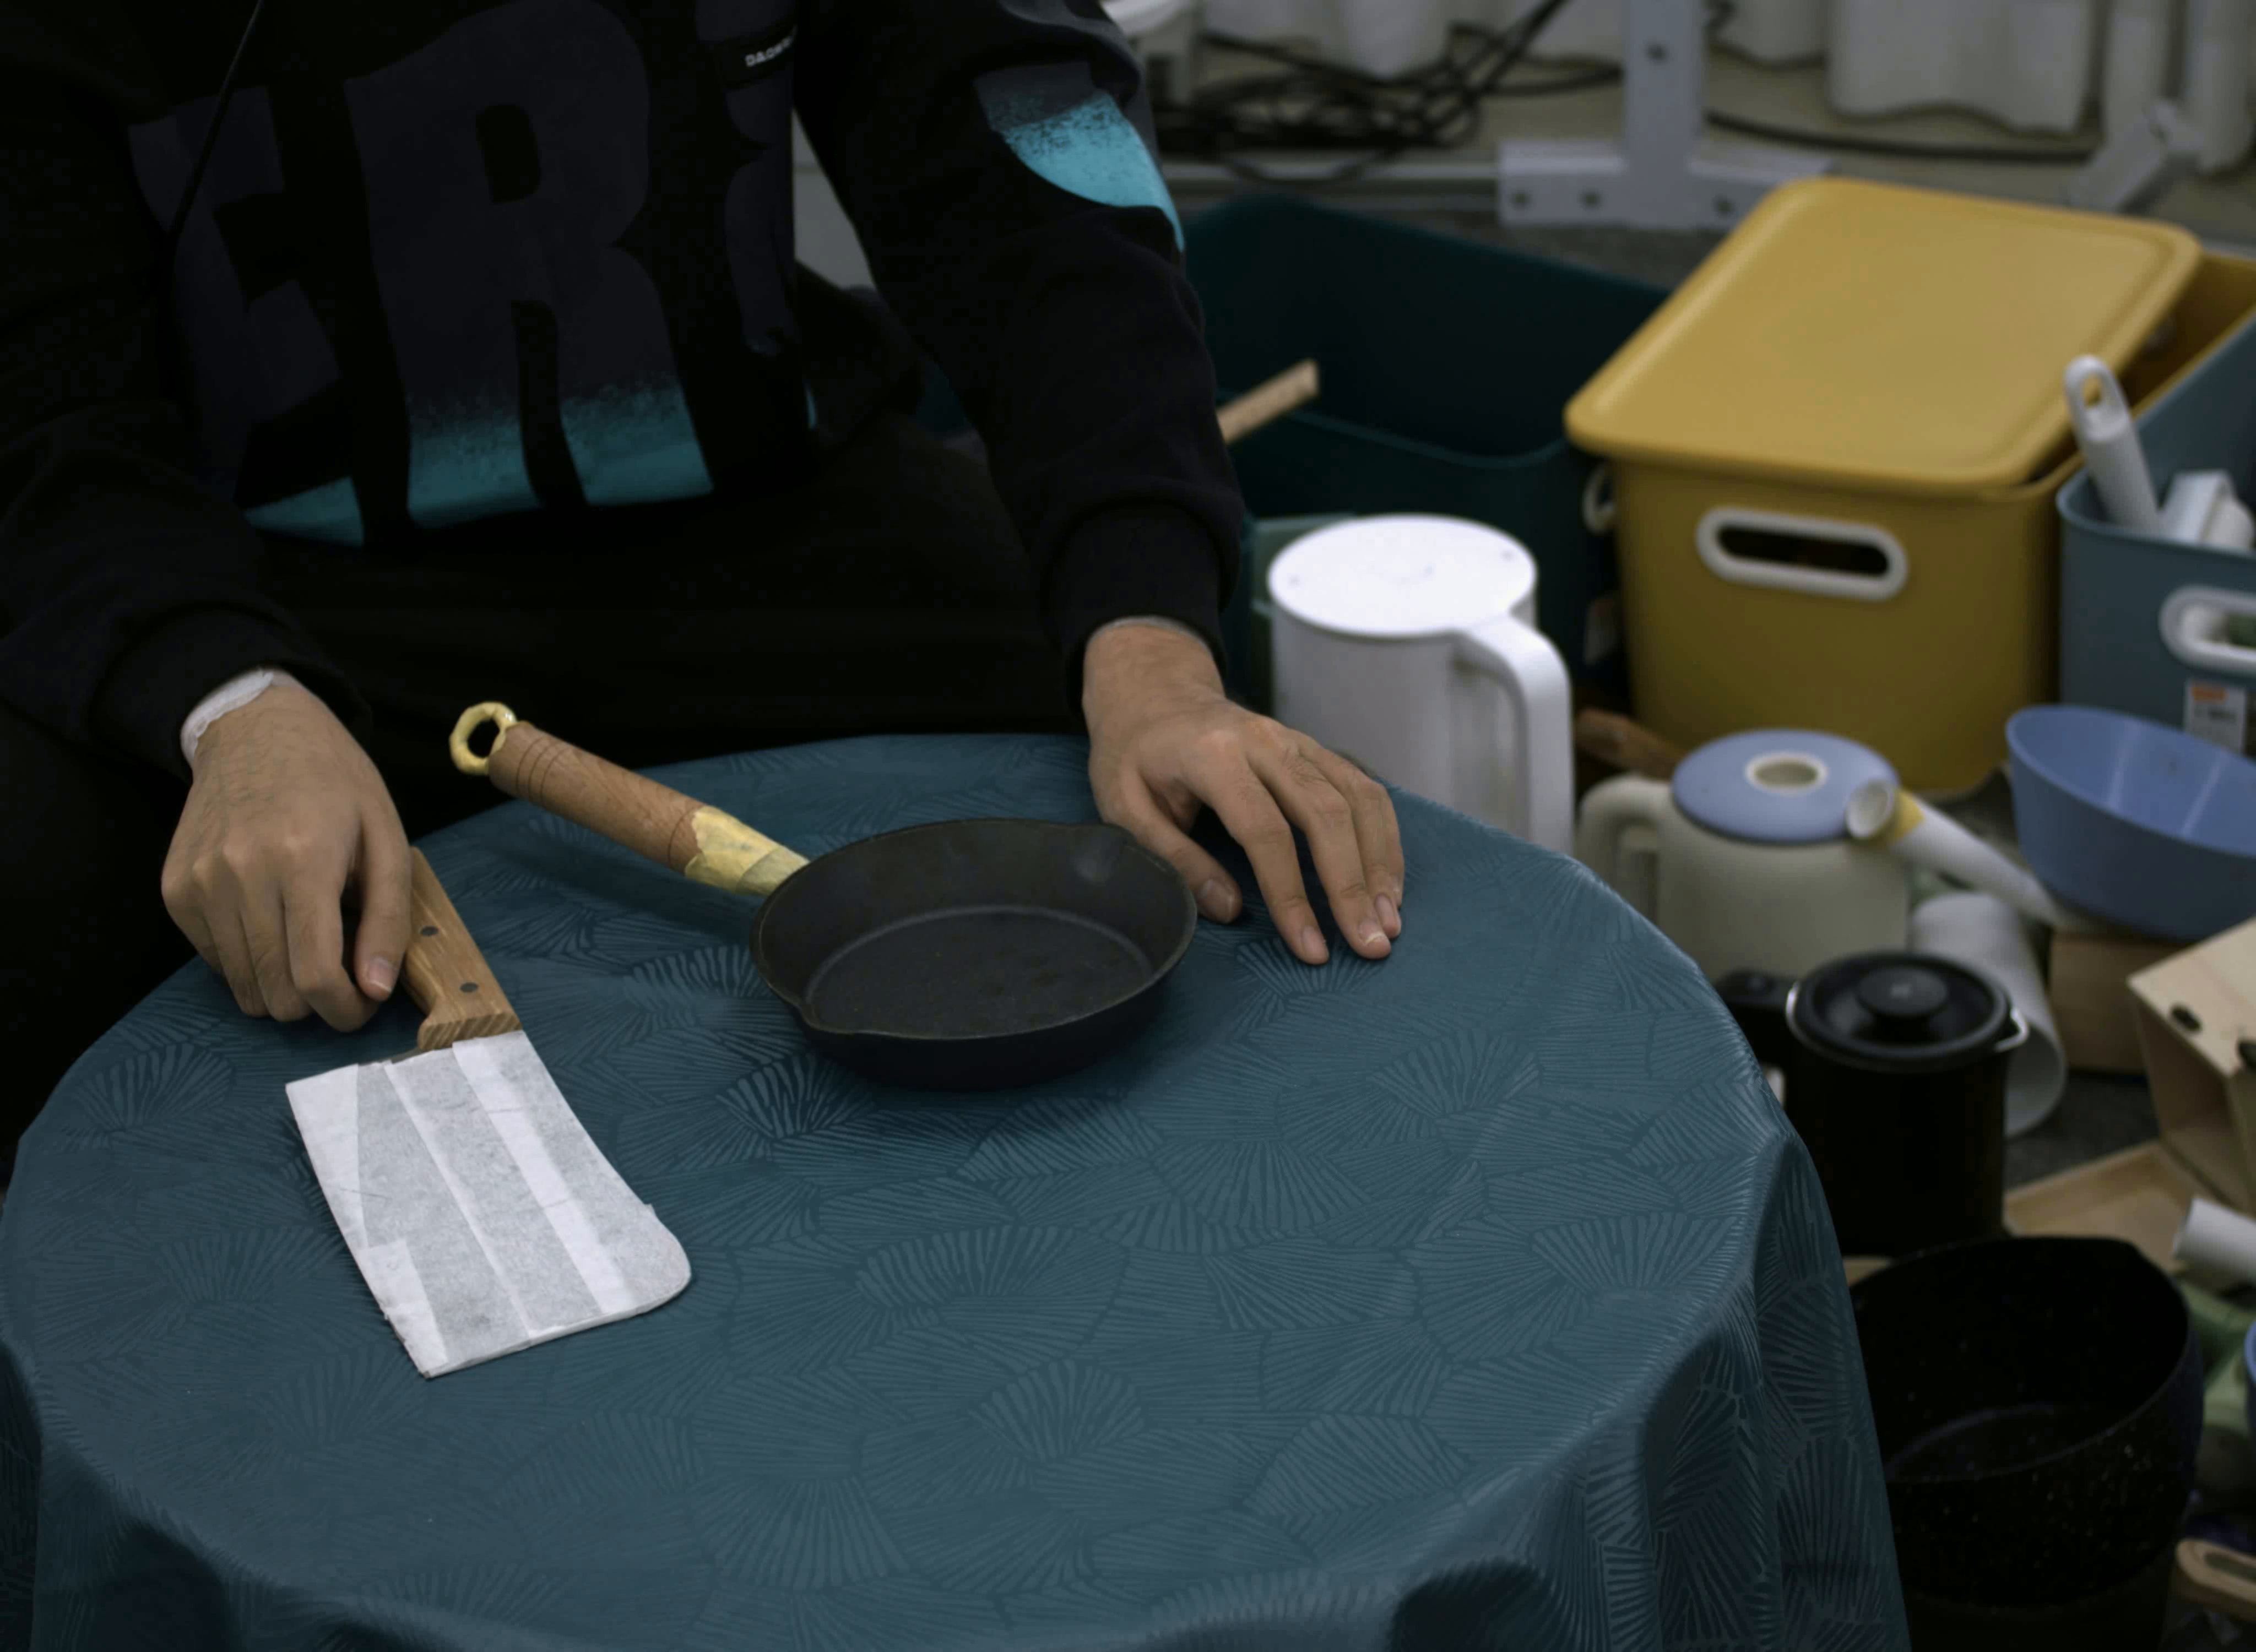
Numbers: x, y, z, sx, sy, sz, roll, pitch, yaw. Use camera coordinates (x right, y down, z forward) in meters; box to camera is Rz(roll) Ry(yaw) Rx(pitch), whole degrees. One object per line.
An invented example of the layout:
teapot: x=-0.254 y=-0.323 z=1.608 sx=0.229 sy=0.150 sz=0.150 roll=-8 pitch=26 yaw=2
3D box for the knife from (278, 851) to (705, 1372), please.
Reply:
knife: x=-0.231 y=0.093 z=1.921 sx=0.114 sy=0.021 sz=0.318 roll=-11 pitch=31 yaw=-15

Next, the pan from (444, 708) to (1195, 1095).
pan: x=-0.121 y=0.020 z=2.015 sx=0.323 sy=0.049 sz=0.171 roll=19 pitch=35 yaw=33
